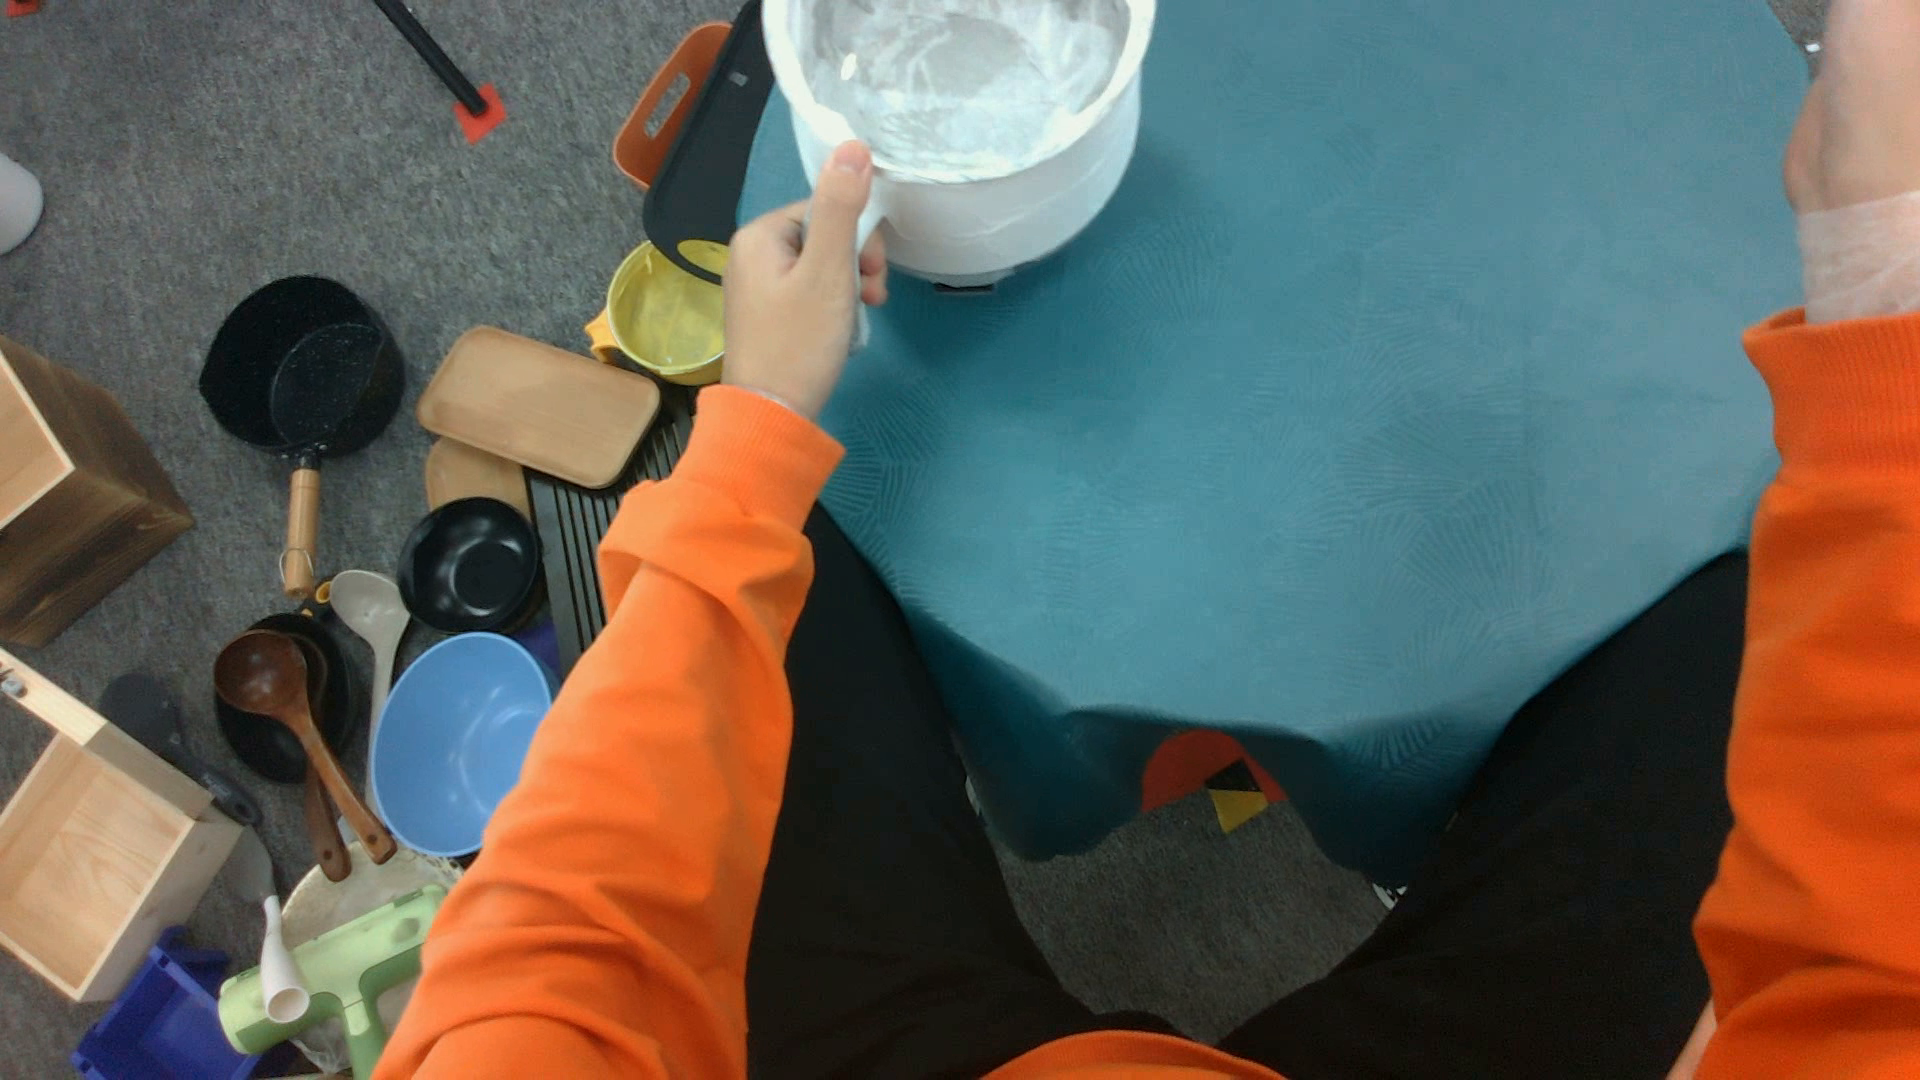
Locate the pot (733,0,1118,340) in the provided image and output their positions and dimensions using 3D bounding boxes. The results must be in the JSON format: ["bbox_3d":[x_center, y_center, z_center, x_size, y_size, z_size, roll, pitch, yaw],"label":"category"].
[{"bbox_3d":[-0.026,-0.214,0.683,0.178,0.136,0.234,26,79,8],"label":"pot"}]
